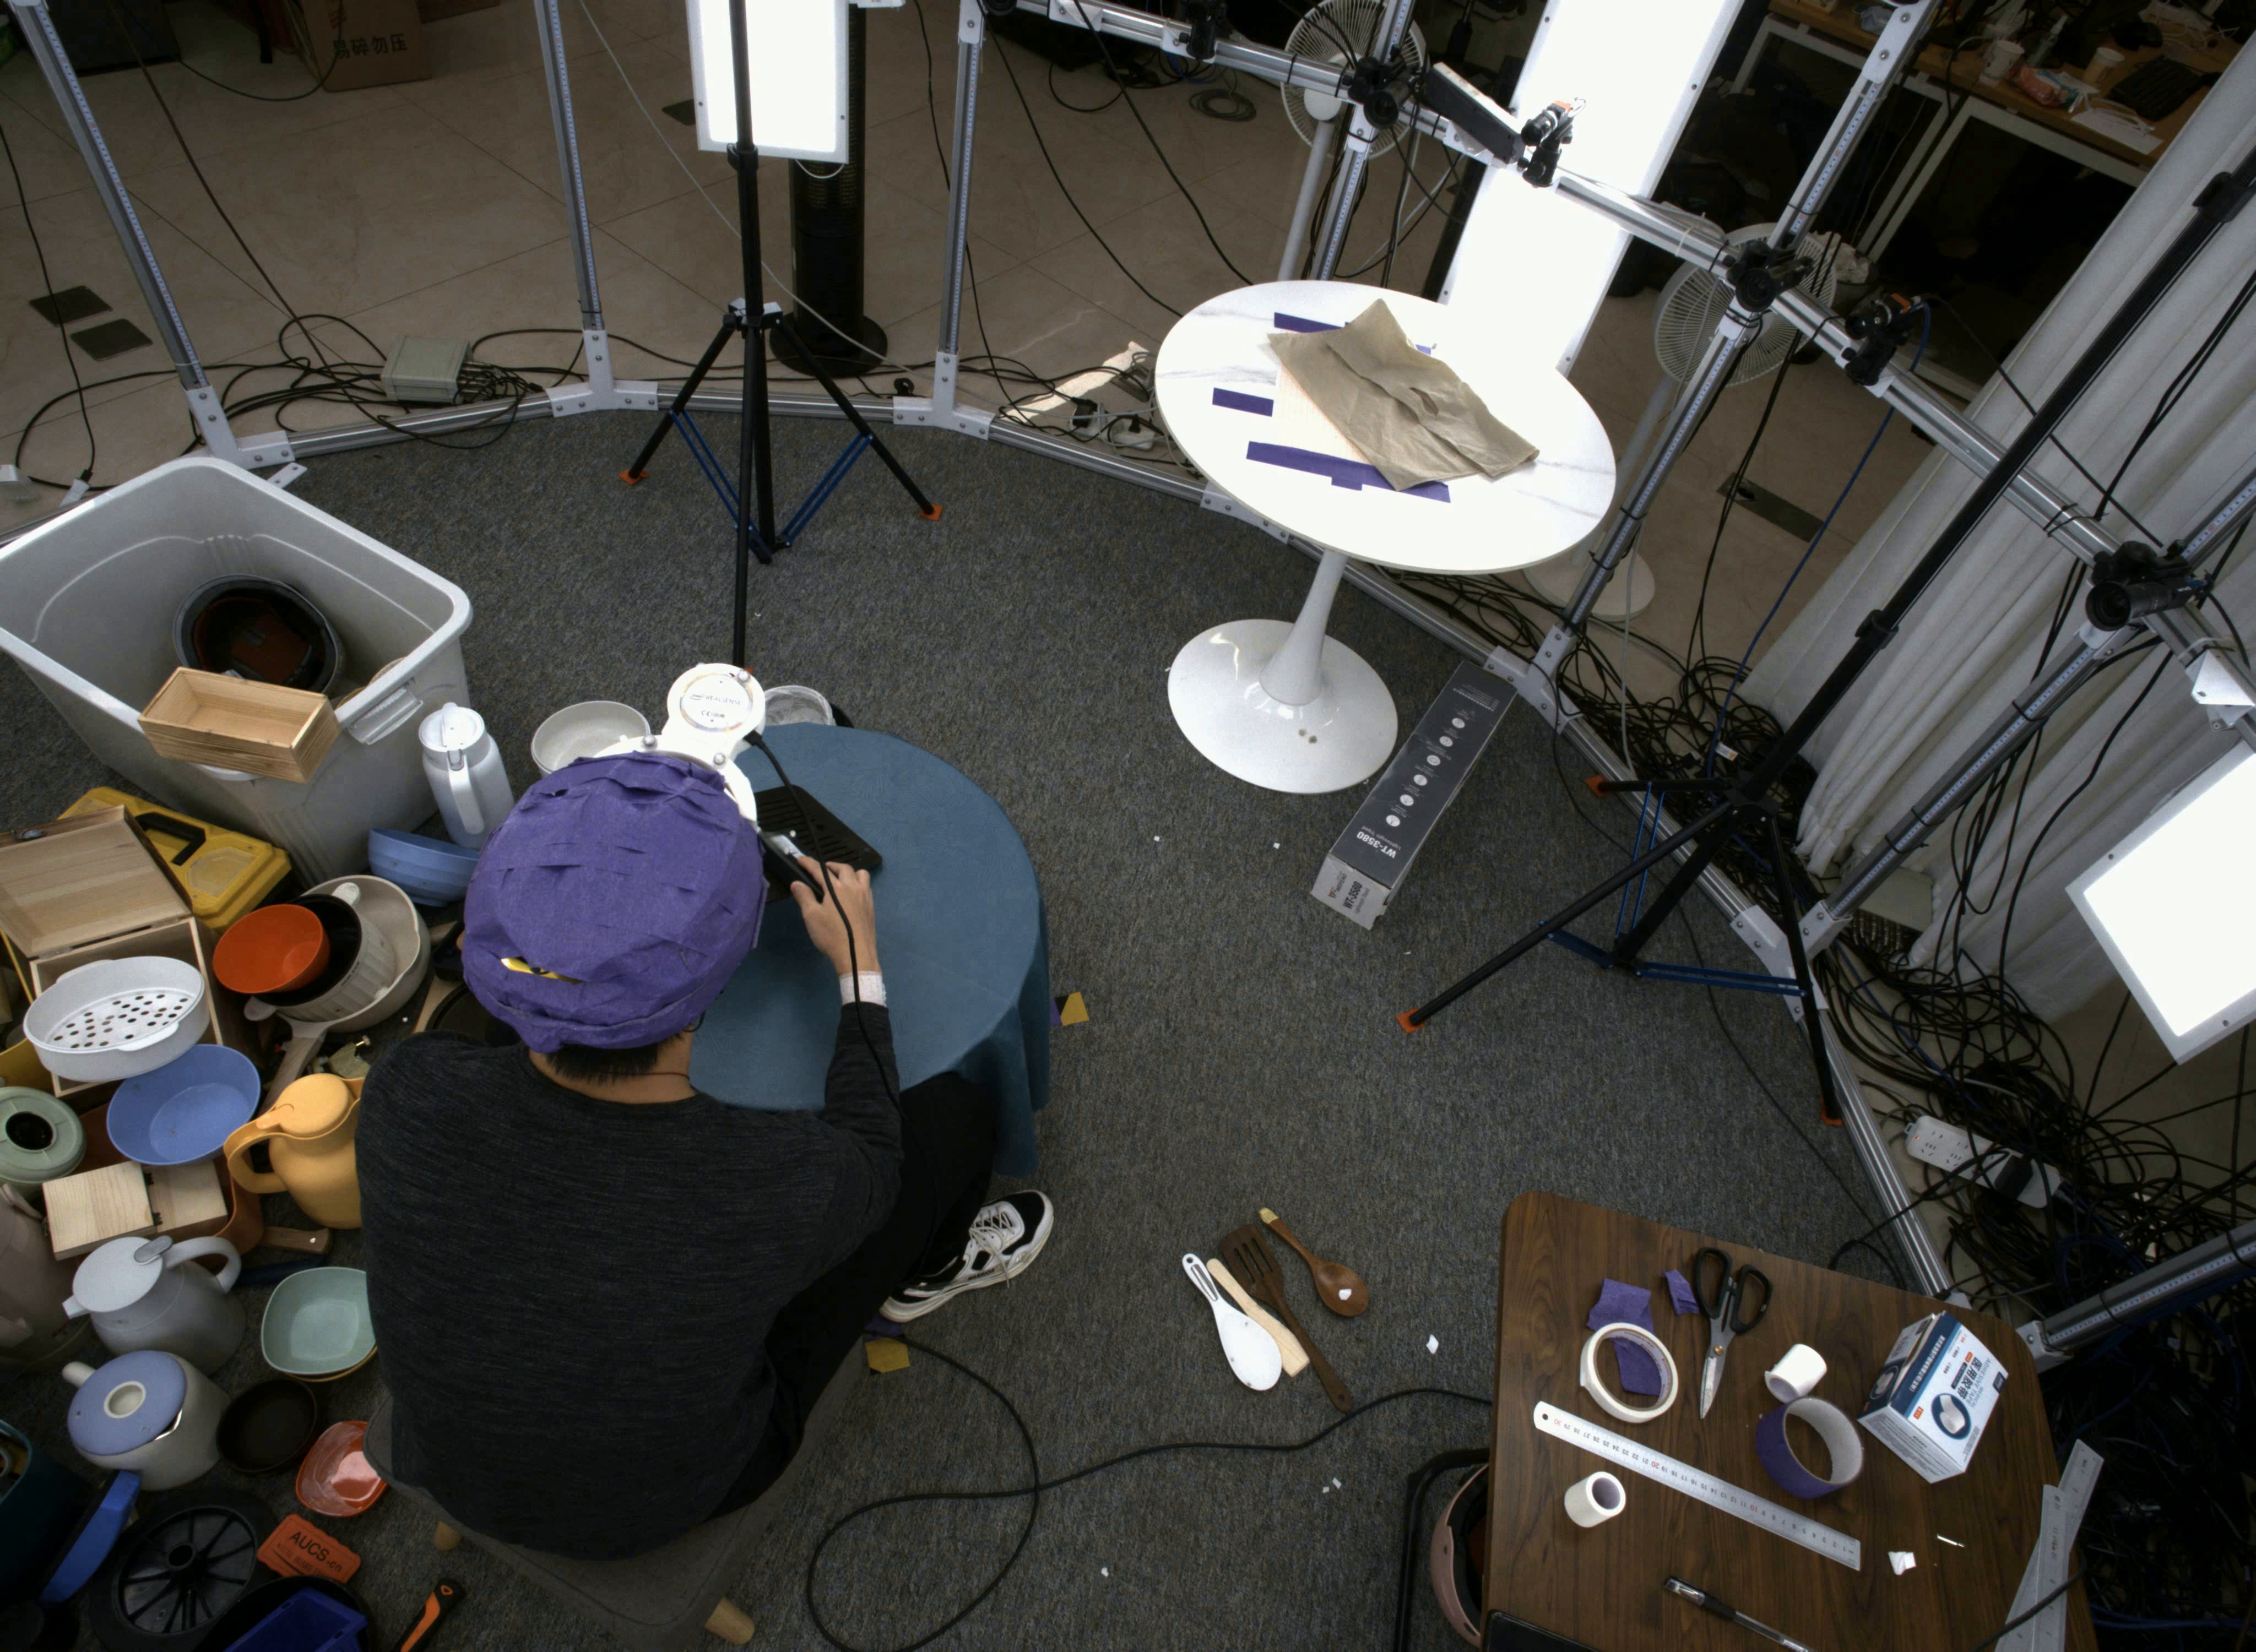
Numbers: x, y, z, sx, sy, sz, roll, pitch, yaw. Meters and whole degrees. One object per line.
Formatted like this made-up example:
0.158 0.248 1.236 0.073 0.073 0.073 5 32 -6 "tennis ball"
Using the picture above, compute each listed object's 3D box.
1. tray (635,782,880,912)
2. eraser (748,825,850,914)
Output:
-0.448 0.020 1.586 0.167 0.019 0.308 40 22 12 "tray"
-0.393 0.050 1.542 0.123 0.031 0.054 40 26 14 "eraser"
